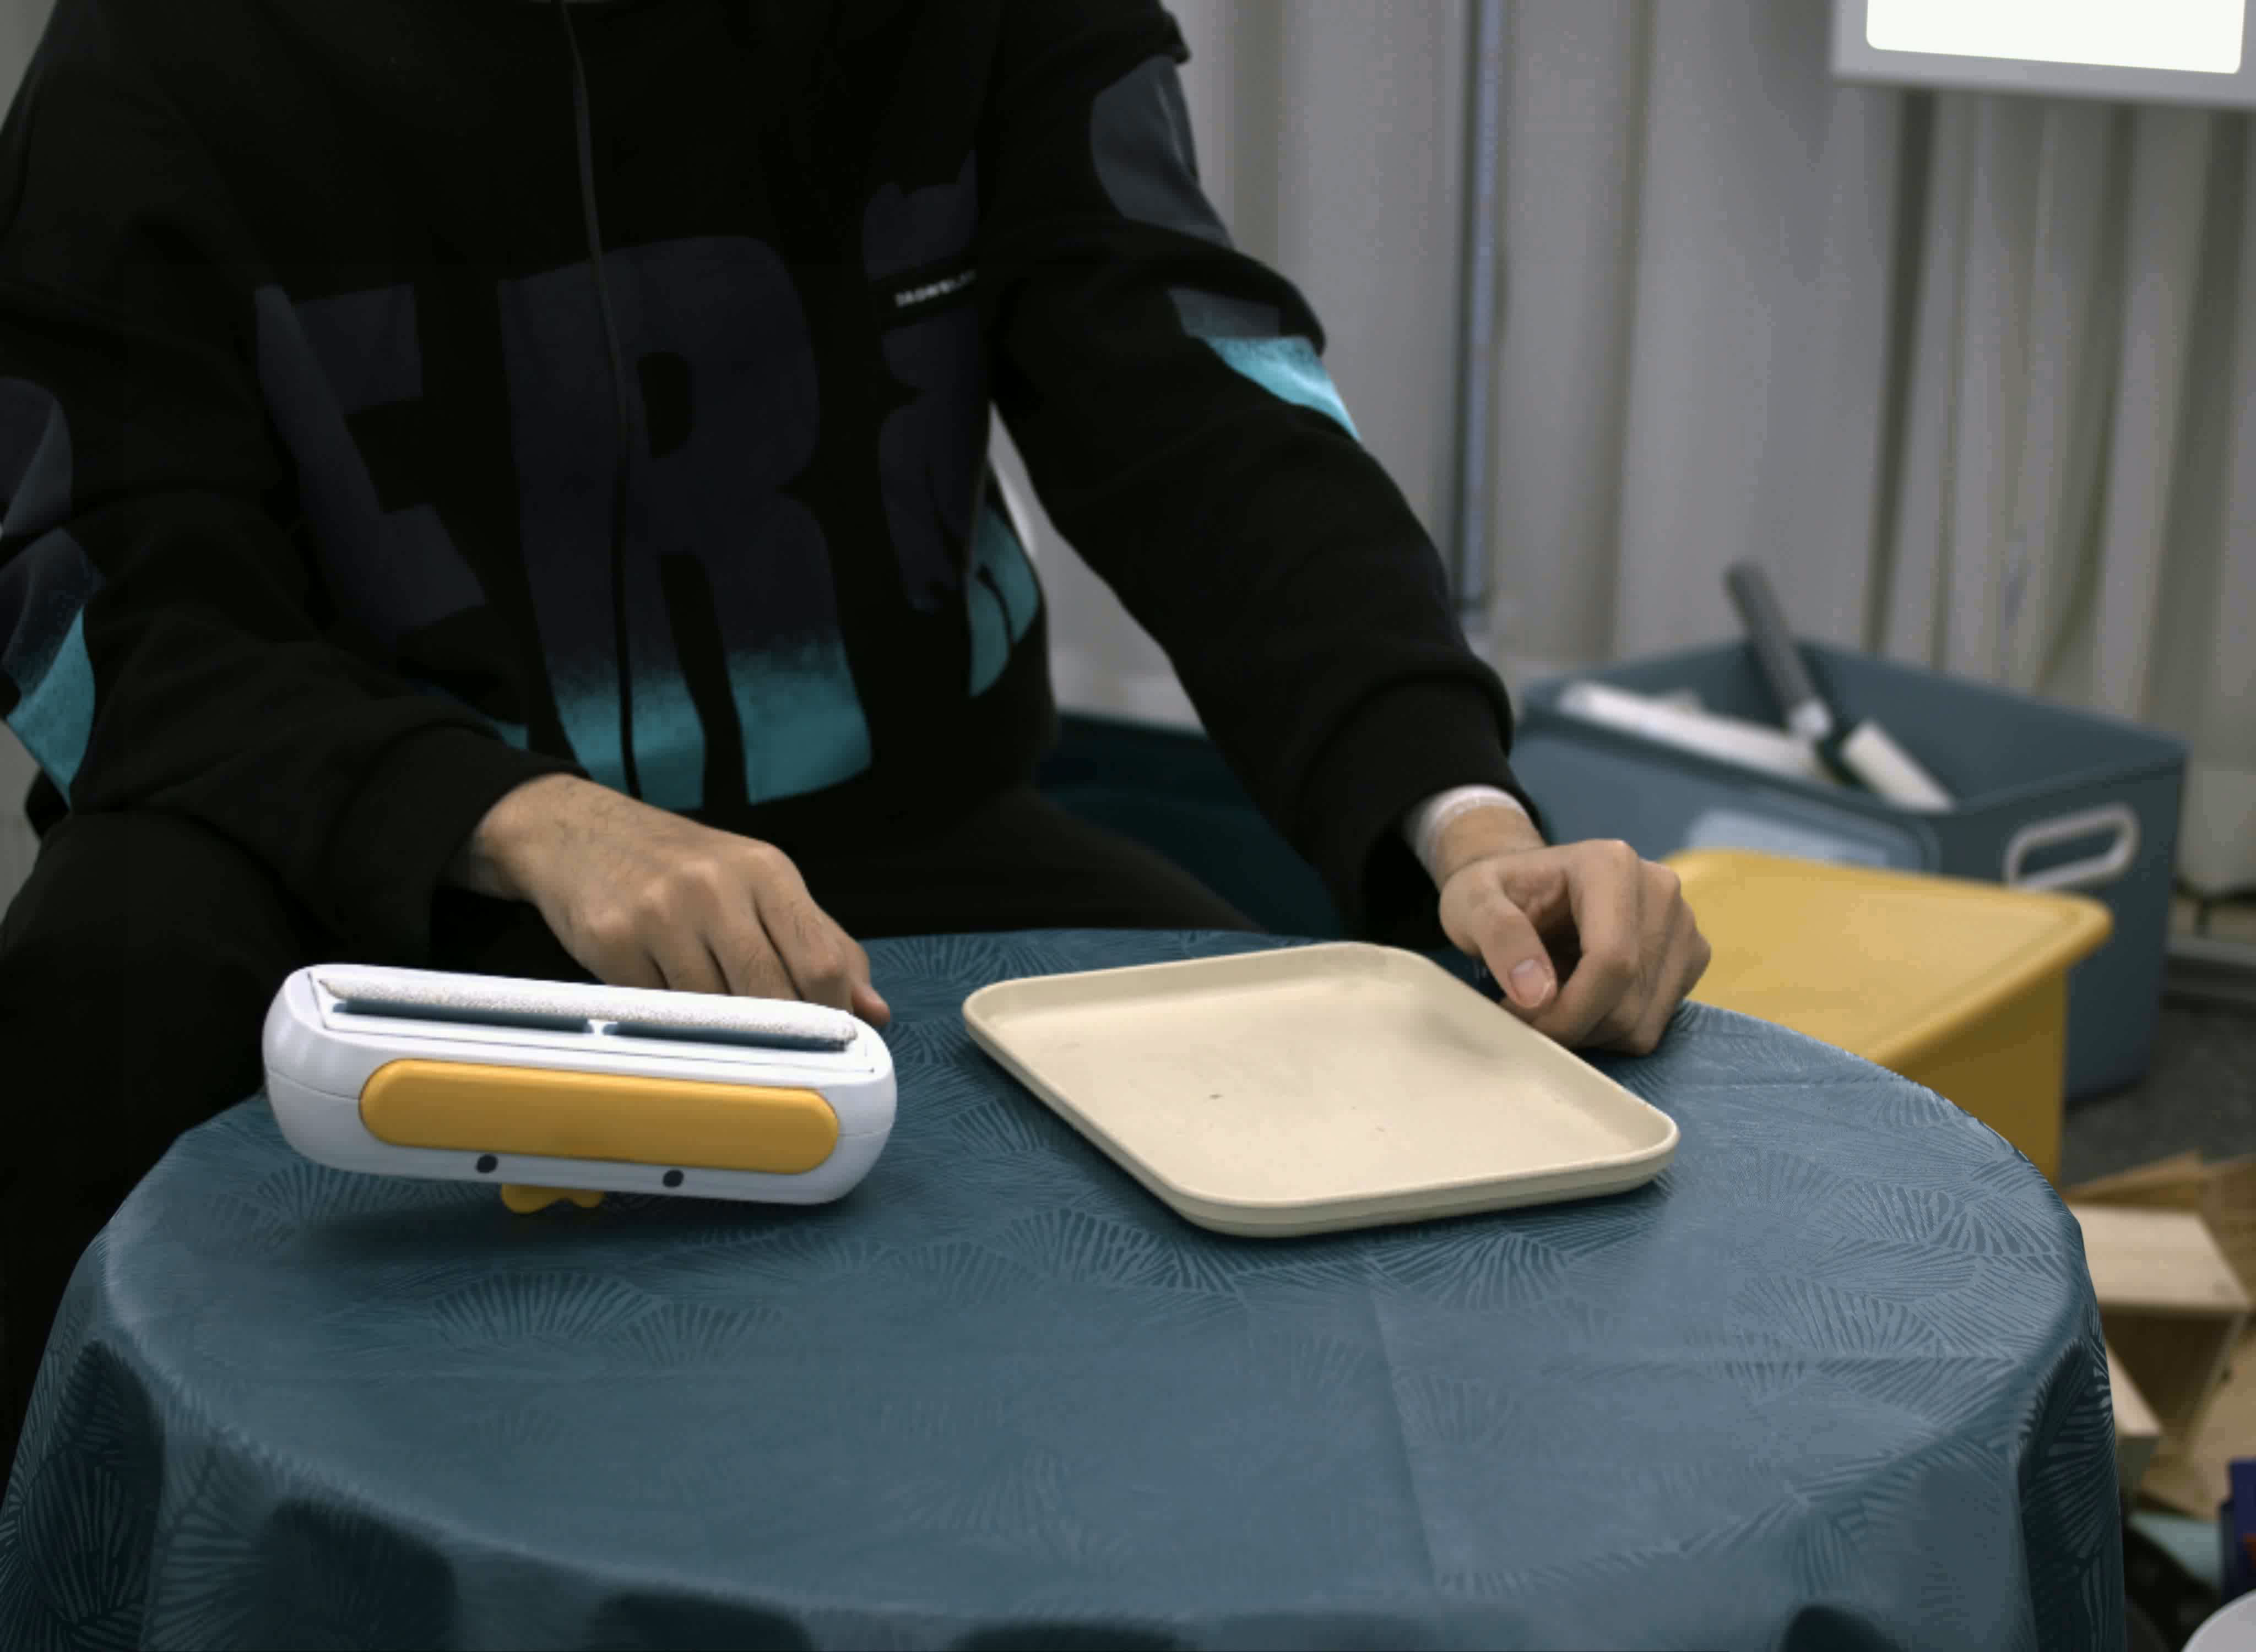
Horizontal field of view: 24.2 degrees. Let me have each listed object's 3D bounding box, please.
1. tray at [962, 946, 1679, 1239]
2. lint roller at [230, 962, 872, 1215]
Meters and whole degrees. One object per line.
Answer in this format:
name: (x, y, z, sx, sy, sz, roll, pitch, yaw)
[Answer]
tray: (0.058, 0.084, 1.691, 0.172, 0.017, 0.237, -6, 17, -21)
lint roller: (-0.186, 0.071, 1.638, 0.193, 0.075, 0.190, 2, 13, -14)
